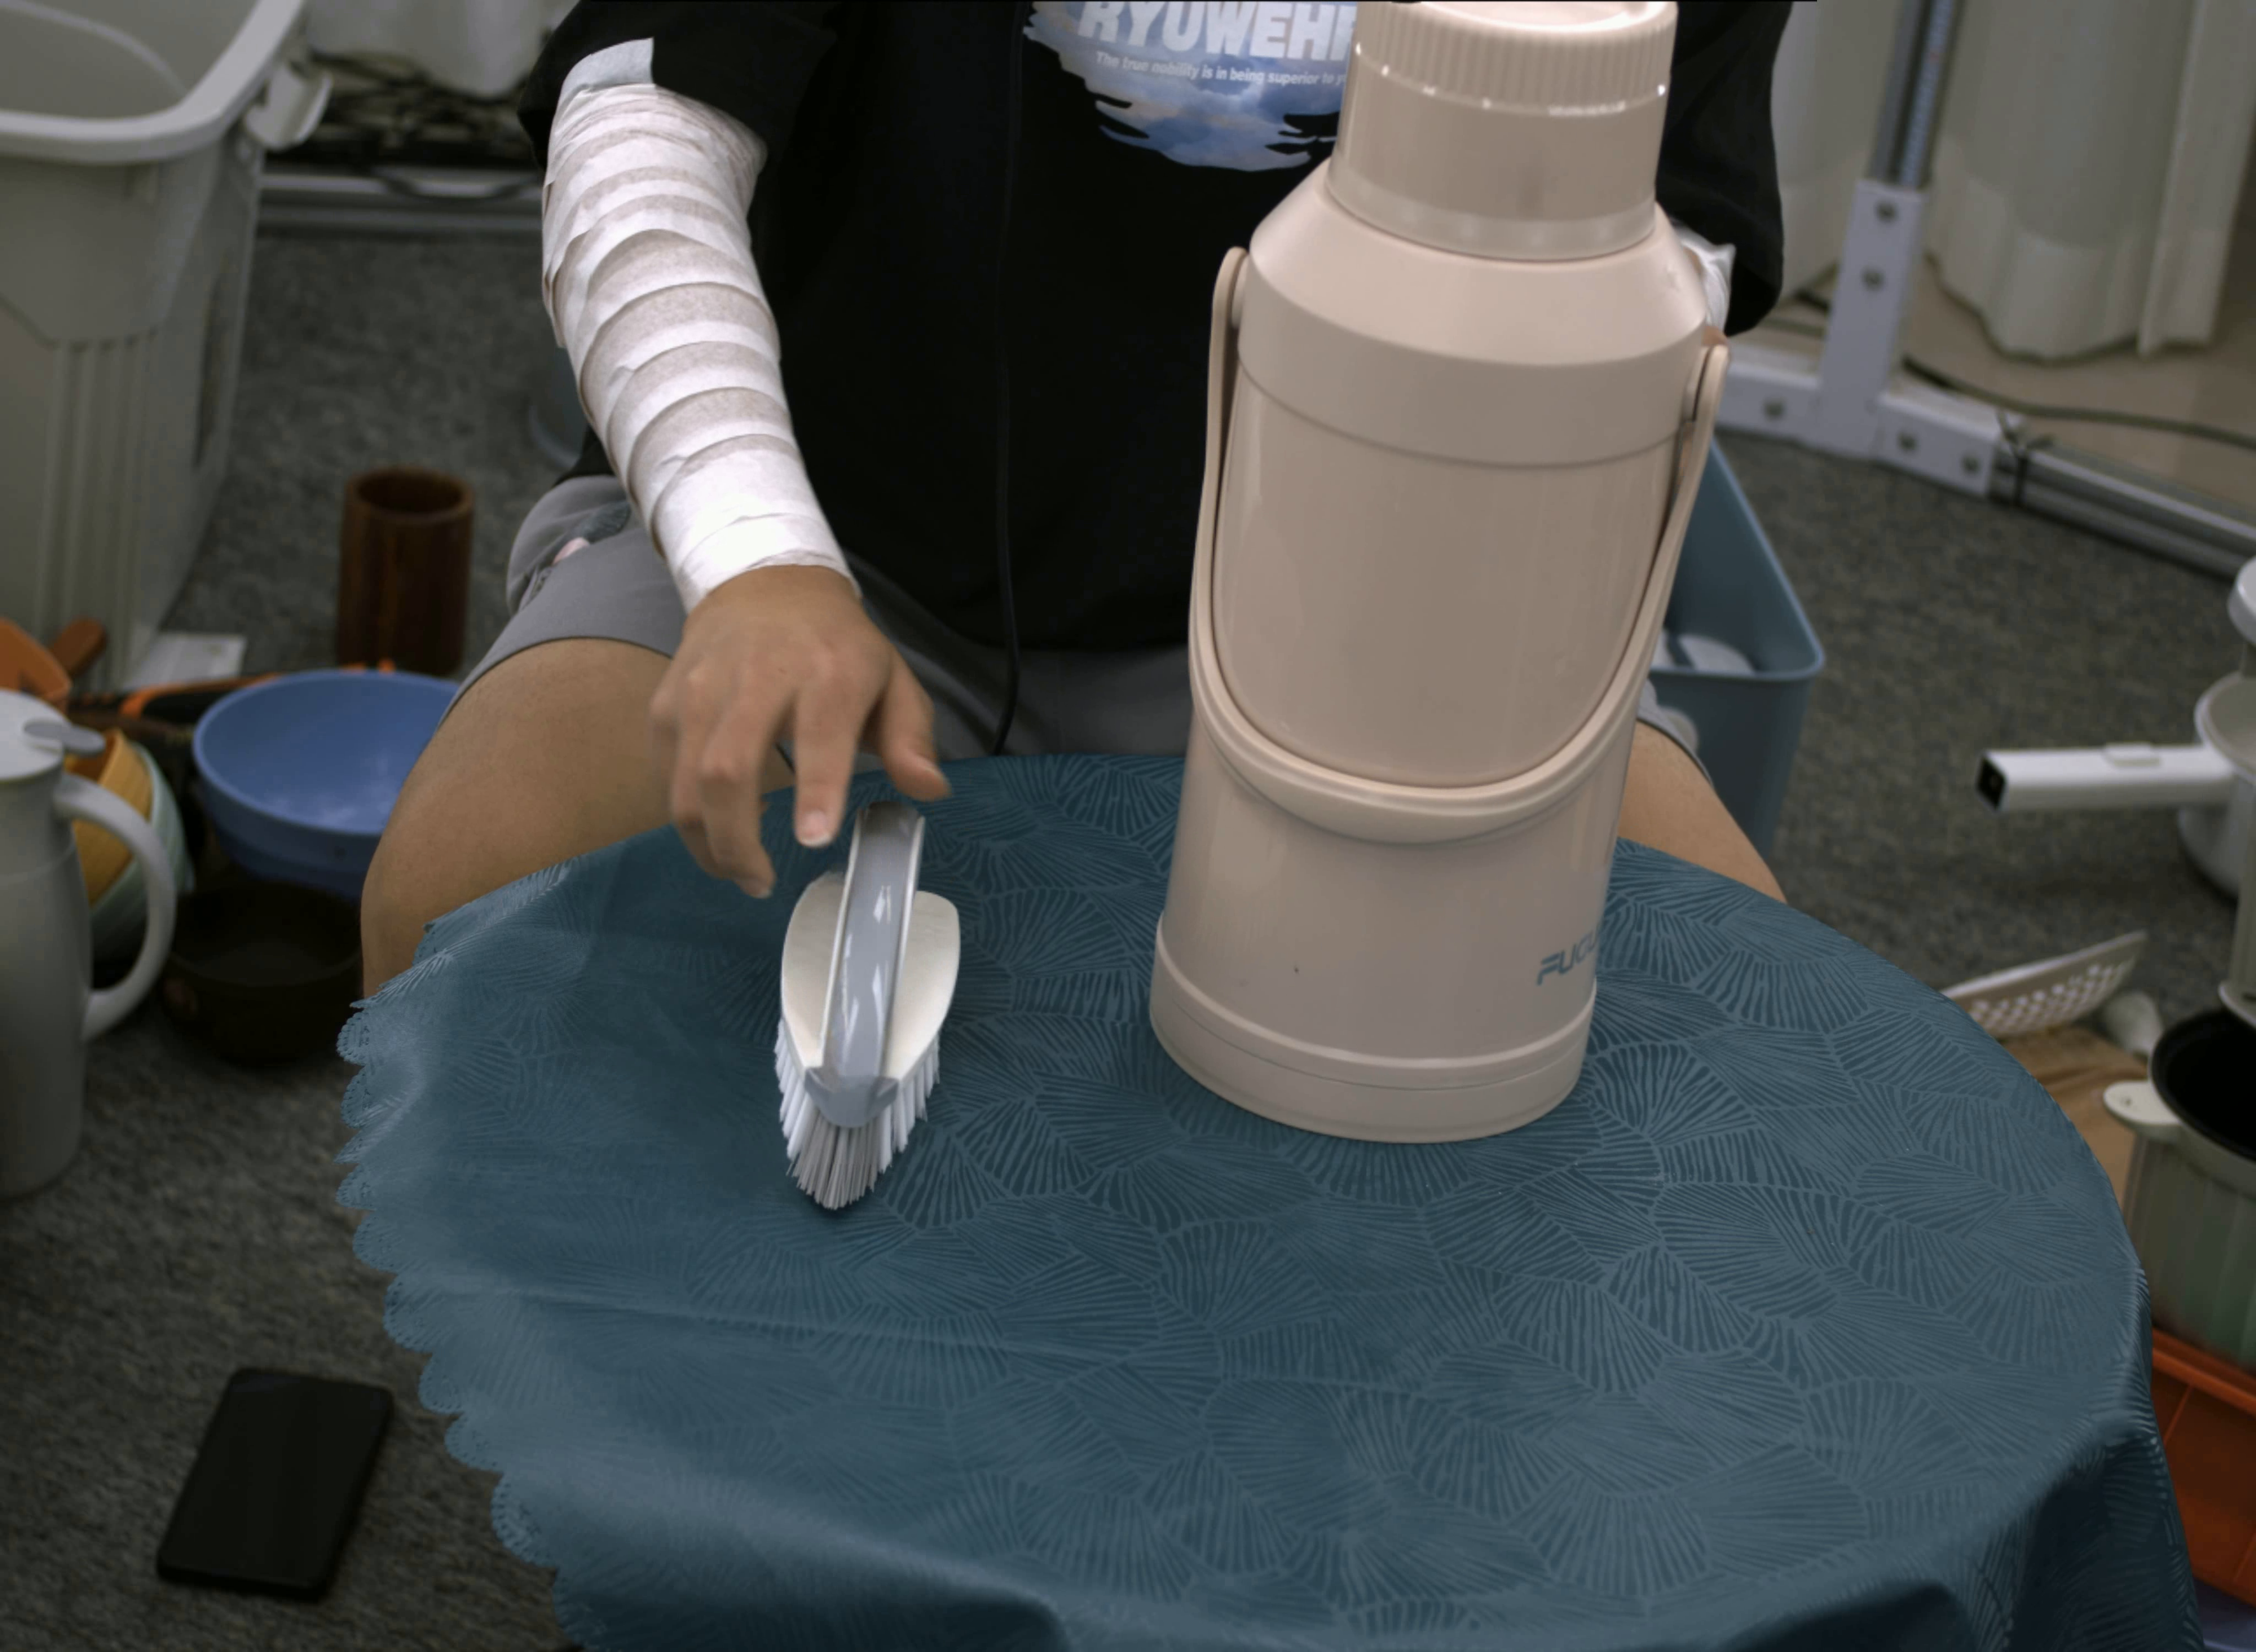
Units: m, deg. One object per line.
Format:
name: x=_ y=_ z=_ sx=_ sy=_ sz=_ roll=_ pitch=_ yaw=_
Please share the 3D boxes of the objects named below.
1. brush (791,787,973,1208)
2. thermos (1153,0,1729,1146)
brush: x=-0.087 y=0.051 z=1.826 sx=0.061 sy=0.094 sz=0.176 roll=5 pitch=29 yaw=1
thermos: x=0.112 y=-0.106 z=1.845 sx=0.175 sy=0.405 sz=0.207 roll=11 pitch=26 yaw=11
